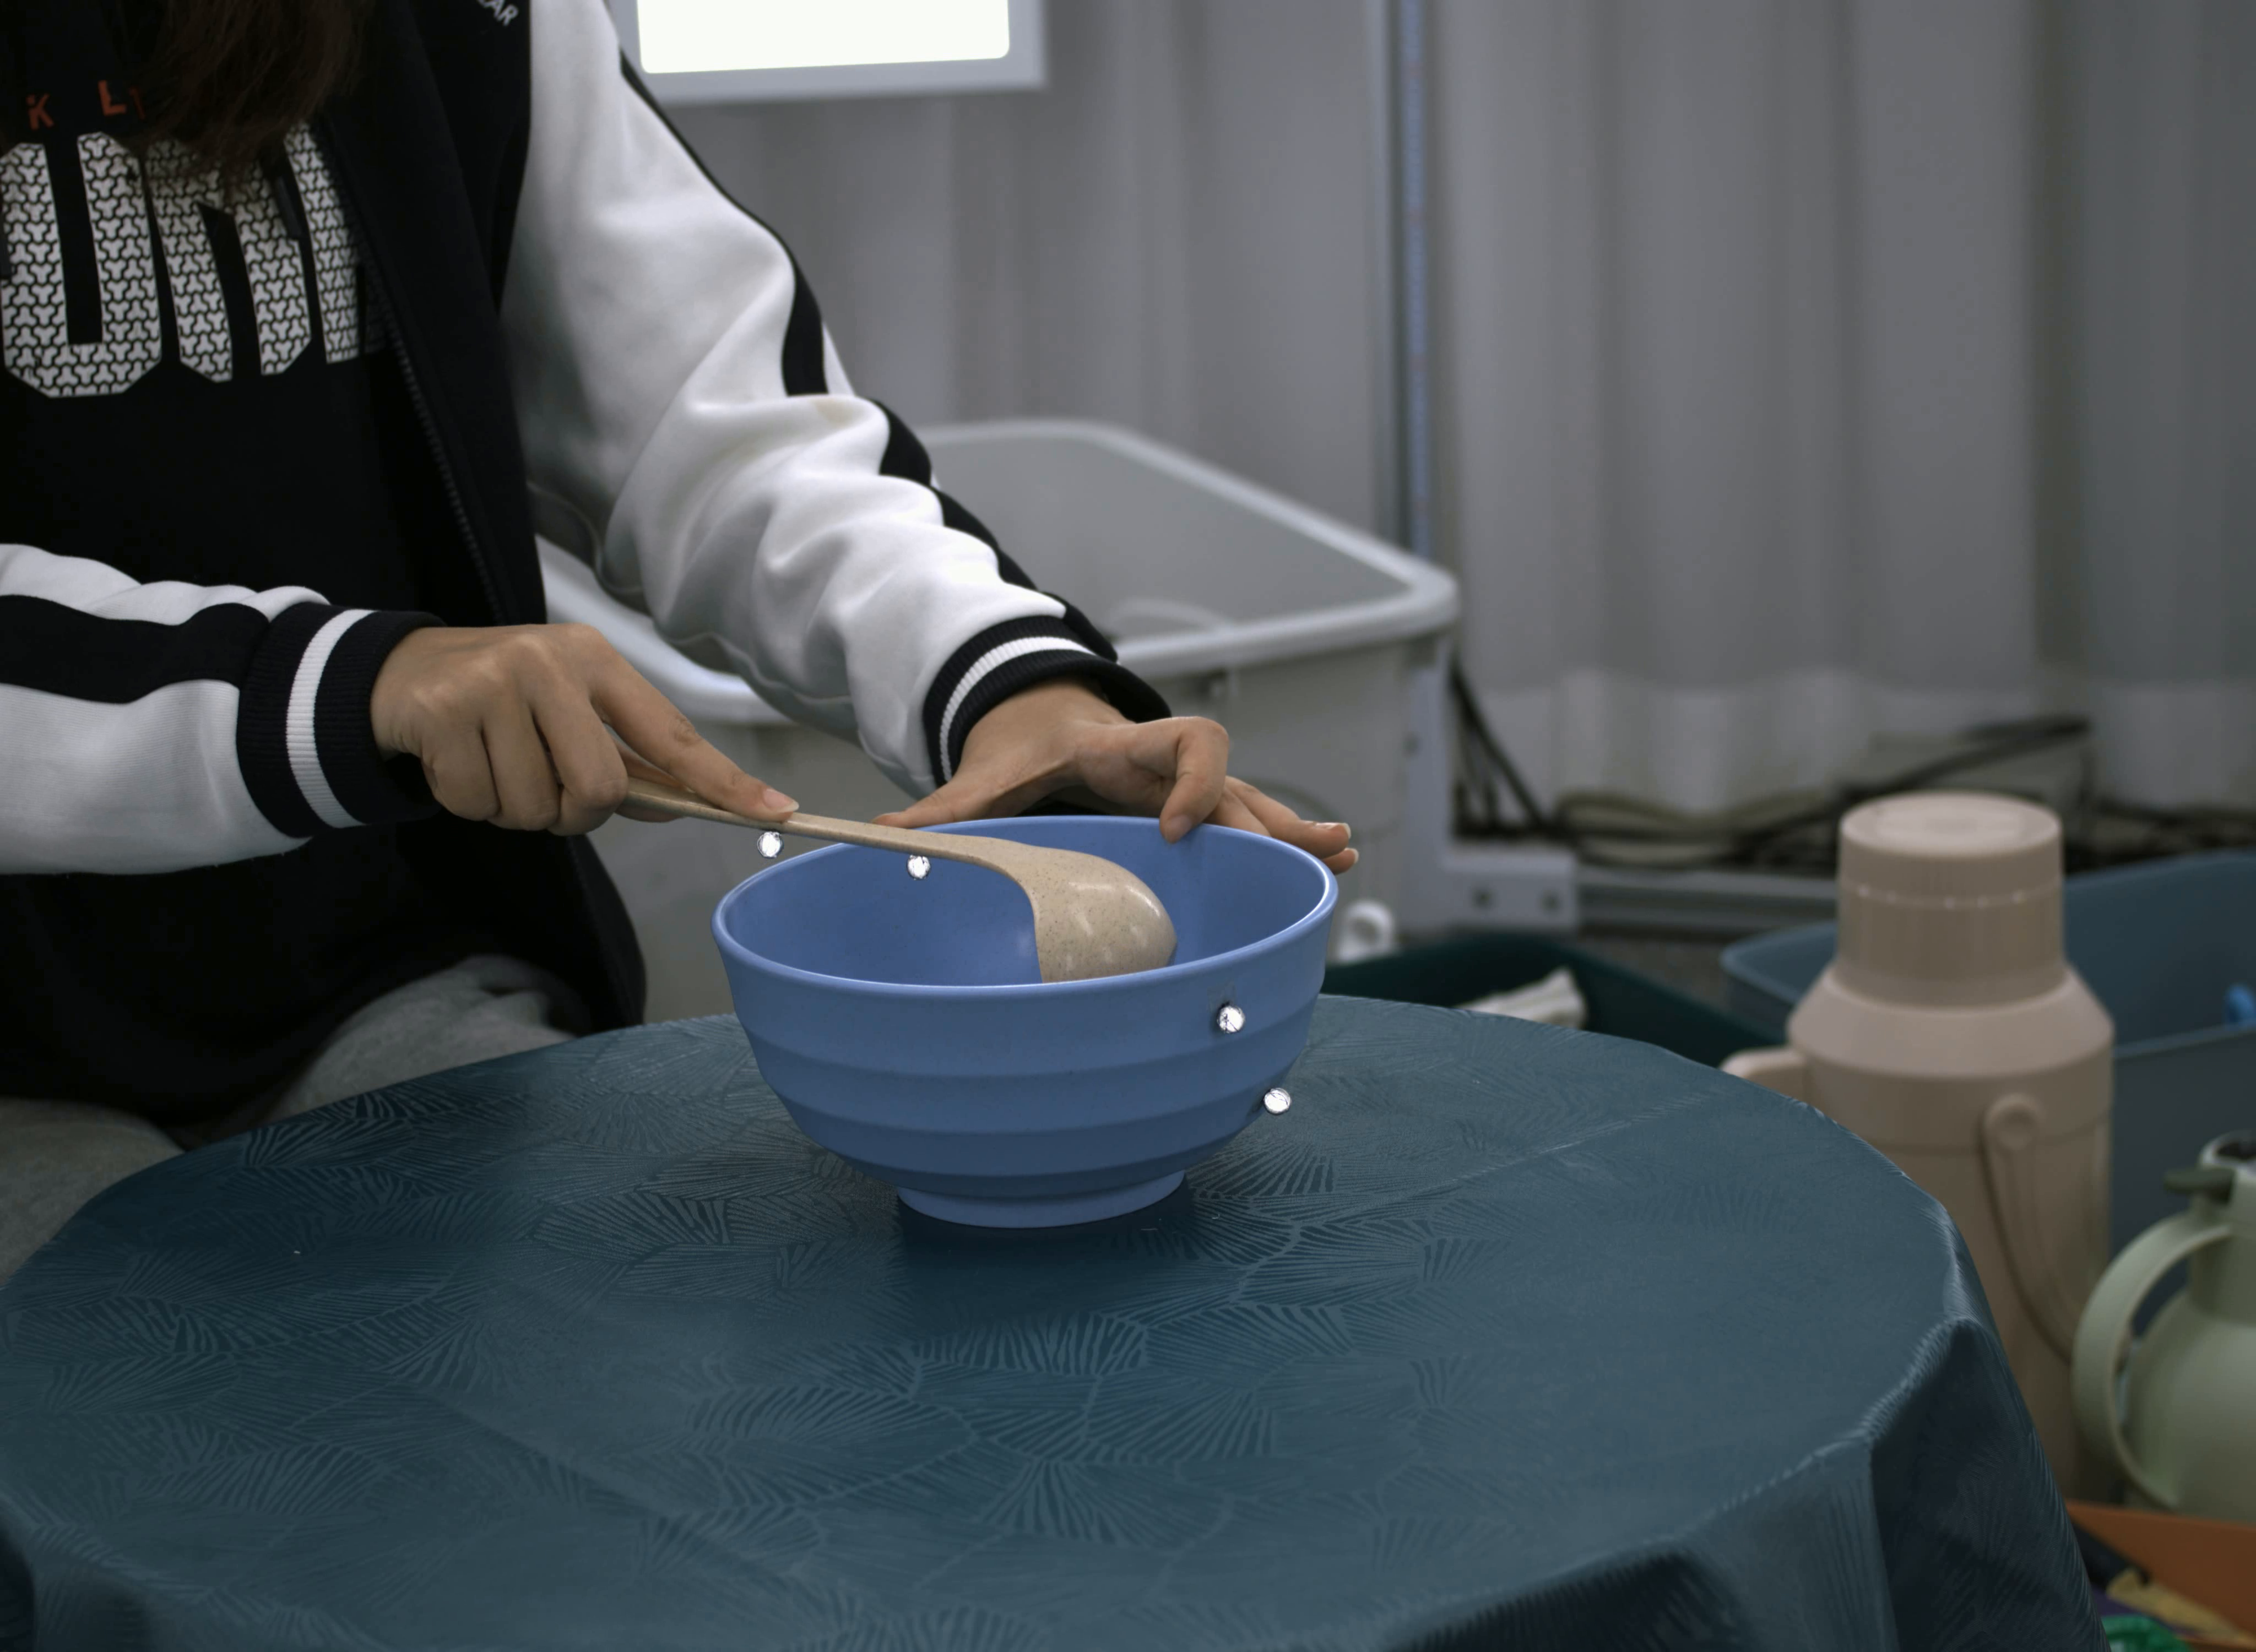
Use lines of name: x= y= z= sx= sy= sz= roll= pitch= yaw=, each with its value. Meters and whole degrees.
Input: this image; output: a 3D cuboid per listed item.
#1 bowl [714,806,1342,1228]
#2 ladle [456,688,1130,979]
bowl: x=-0.031 y=0.066 z=1.717 sx=0.196 sy=0.095 sz=0.198 roll=-1 pitch=16 yaw=0
ladle: x=-0.119 y=0.022 z=1.717 sx=0.255 sy=0.071 sz=0.073 roll=17 pitch=64 yaw=22
